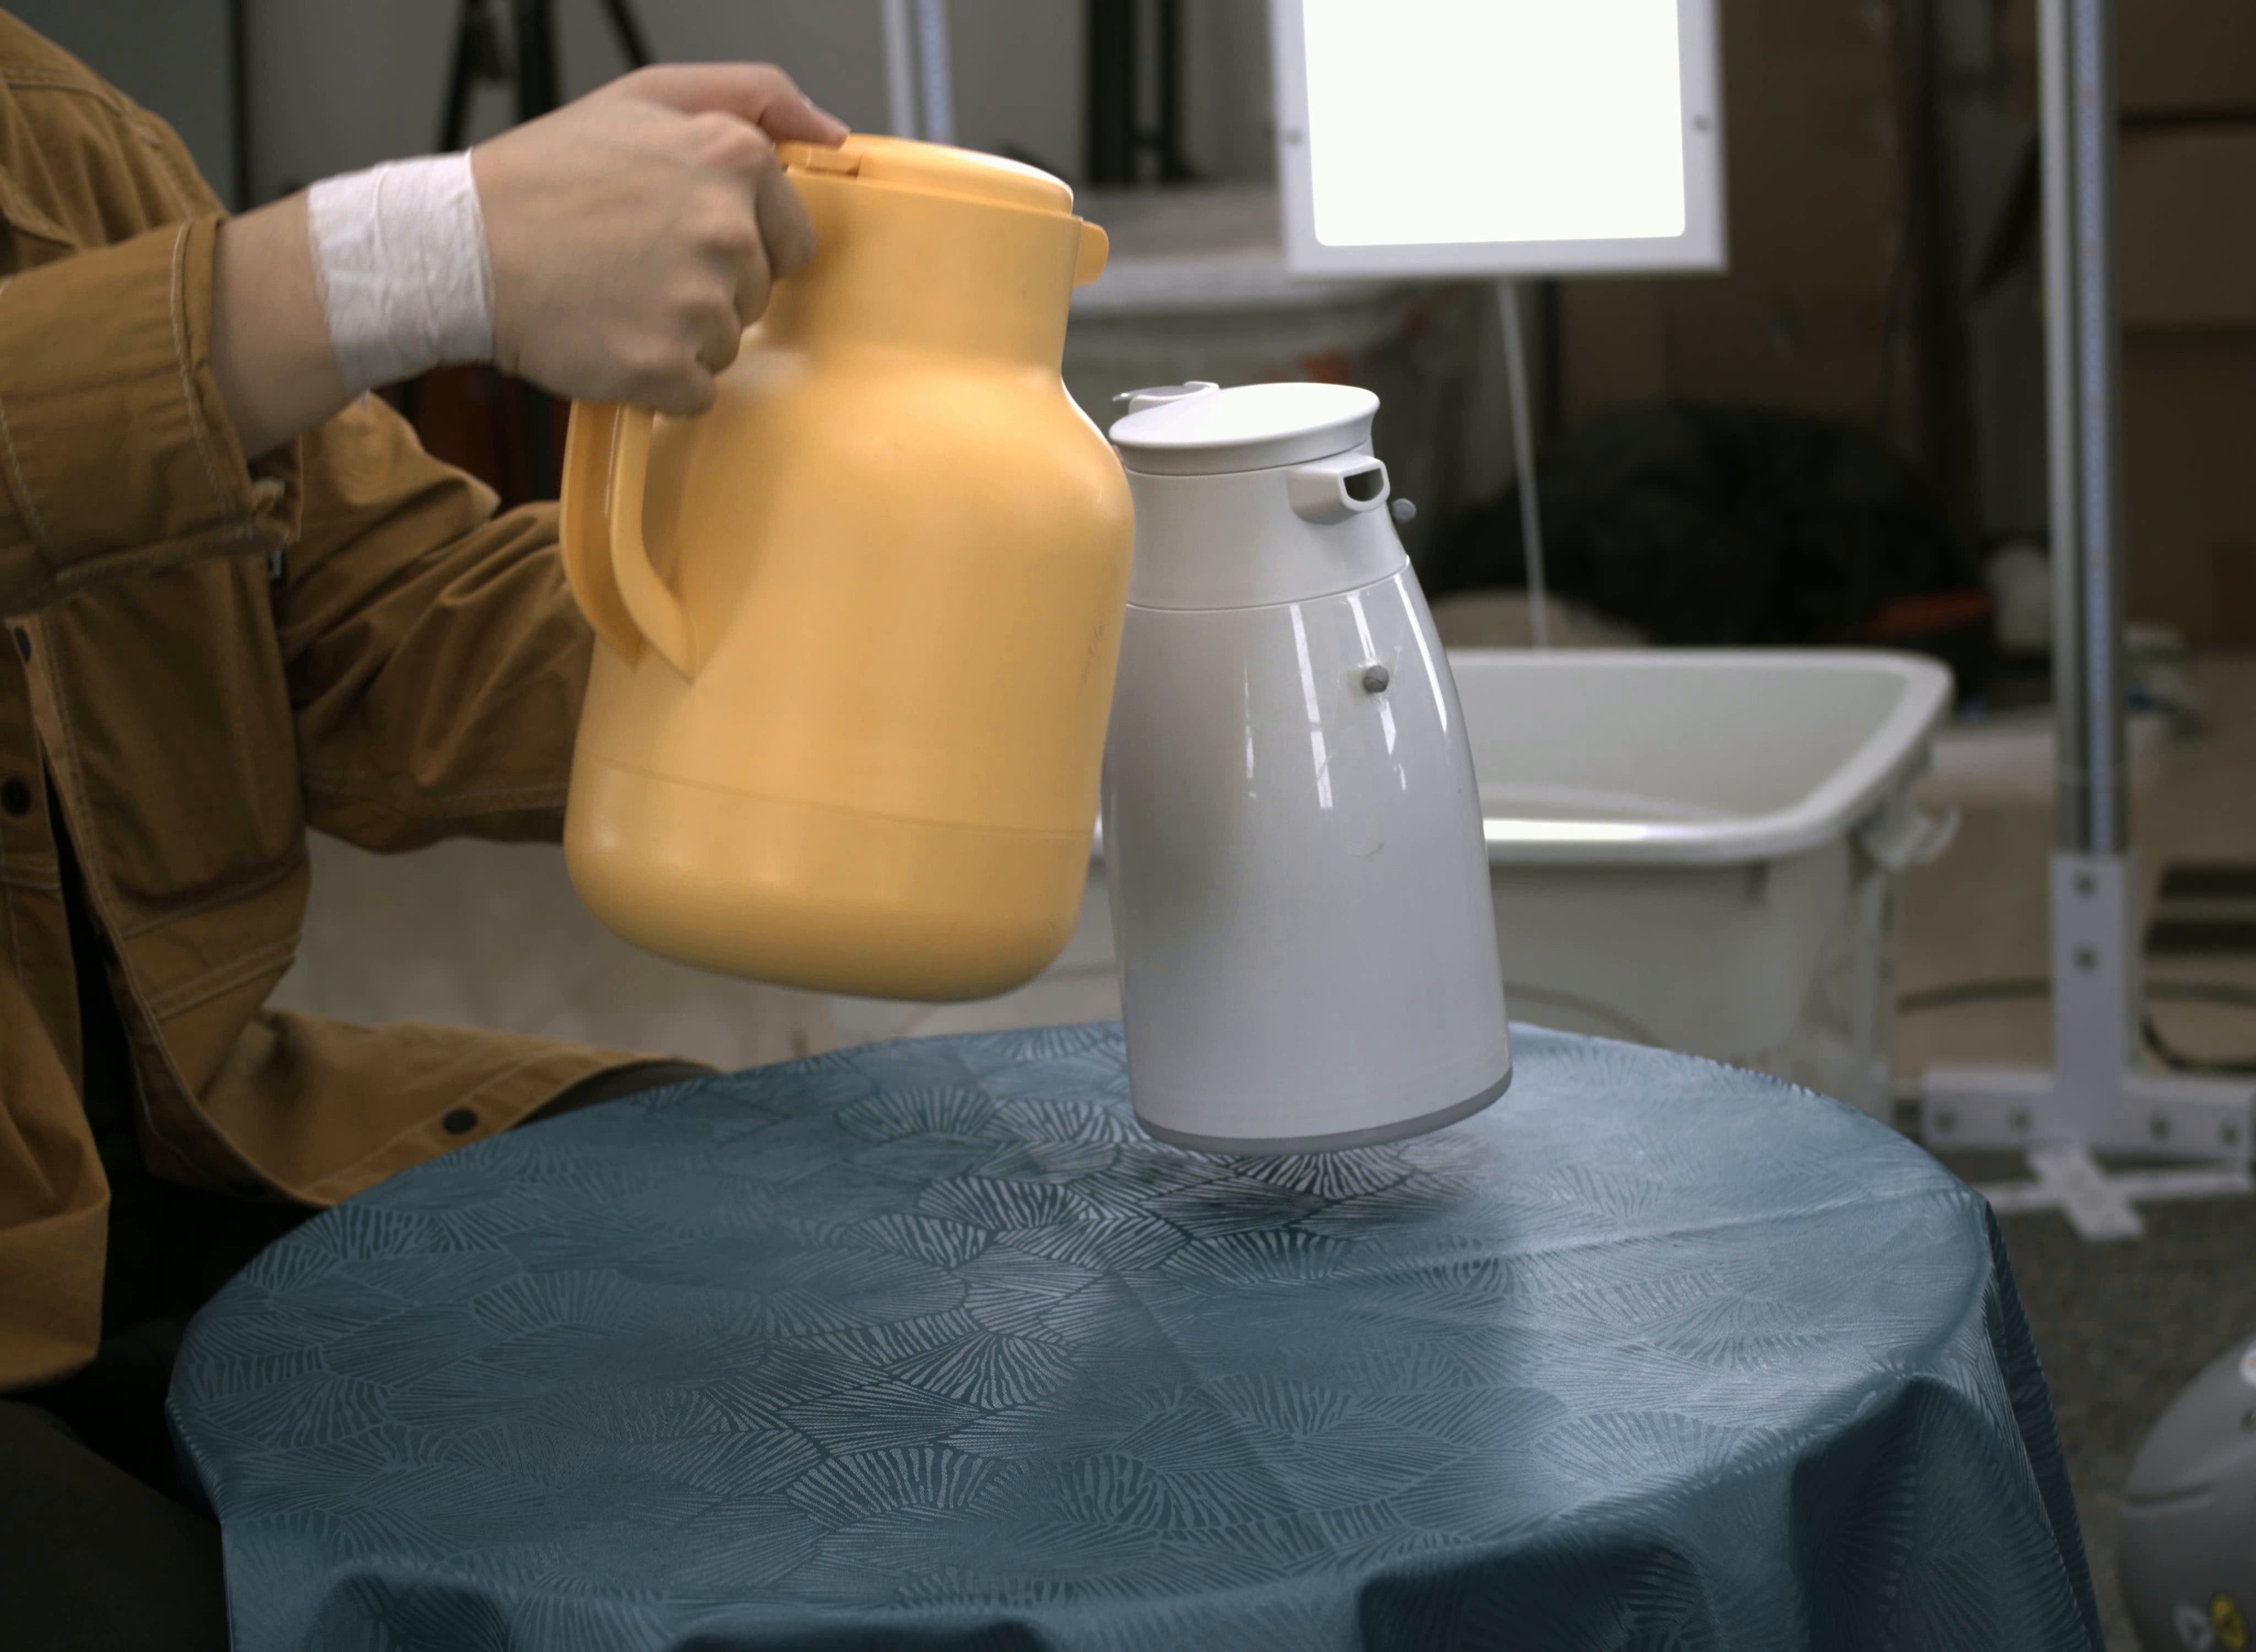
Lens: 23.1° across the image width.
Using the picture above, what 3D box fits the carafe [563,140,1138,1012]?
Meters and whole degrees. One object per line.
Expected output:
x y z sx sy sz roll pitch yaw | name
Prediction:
-0.093 -0.080 1.688 0.197 0.261 0.167 4 4 -44 | carafe

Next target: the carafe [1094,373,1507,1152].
0.040 -0.029 1.877 0.129 0.249 0.171 -16 16 -33 | carafe
